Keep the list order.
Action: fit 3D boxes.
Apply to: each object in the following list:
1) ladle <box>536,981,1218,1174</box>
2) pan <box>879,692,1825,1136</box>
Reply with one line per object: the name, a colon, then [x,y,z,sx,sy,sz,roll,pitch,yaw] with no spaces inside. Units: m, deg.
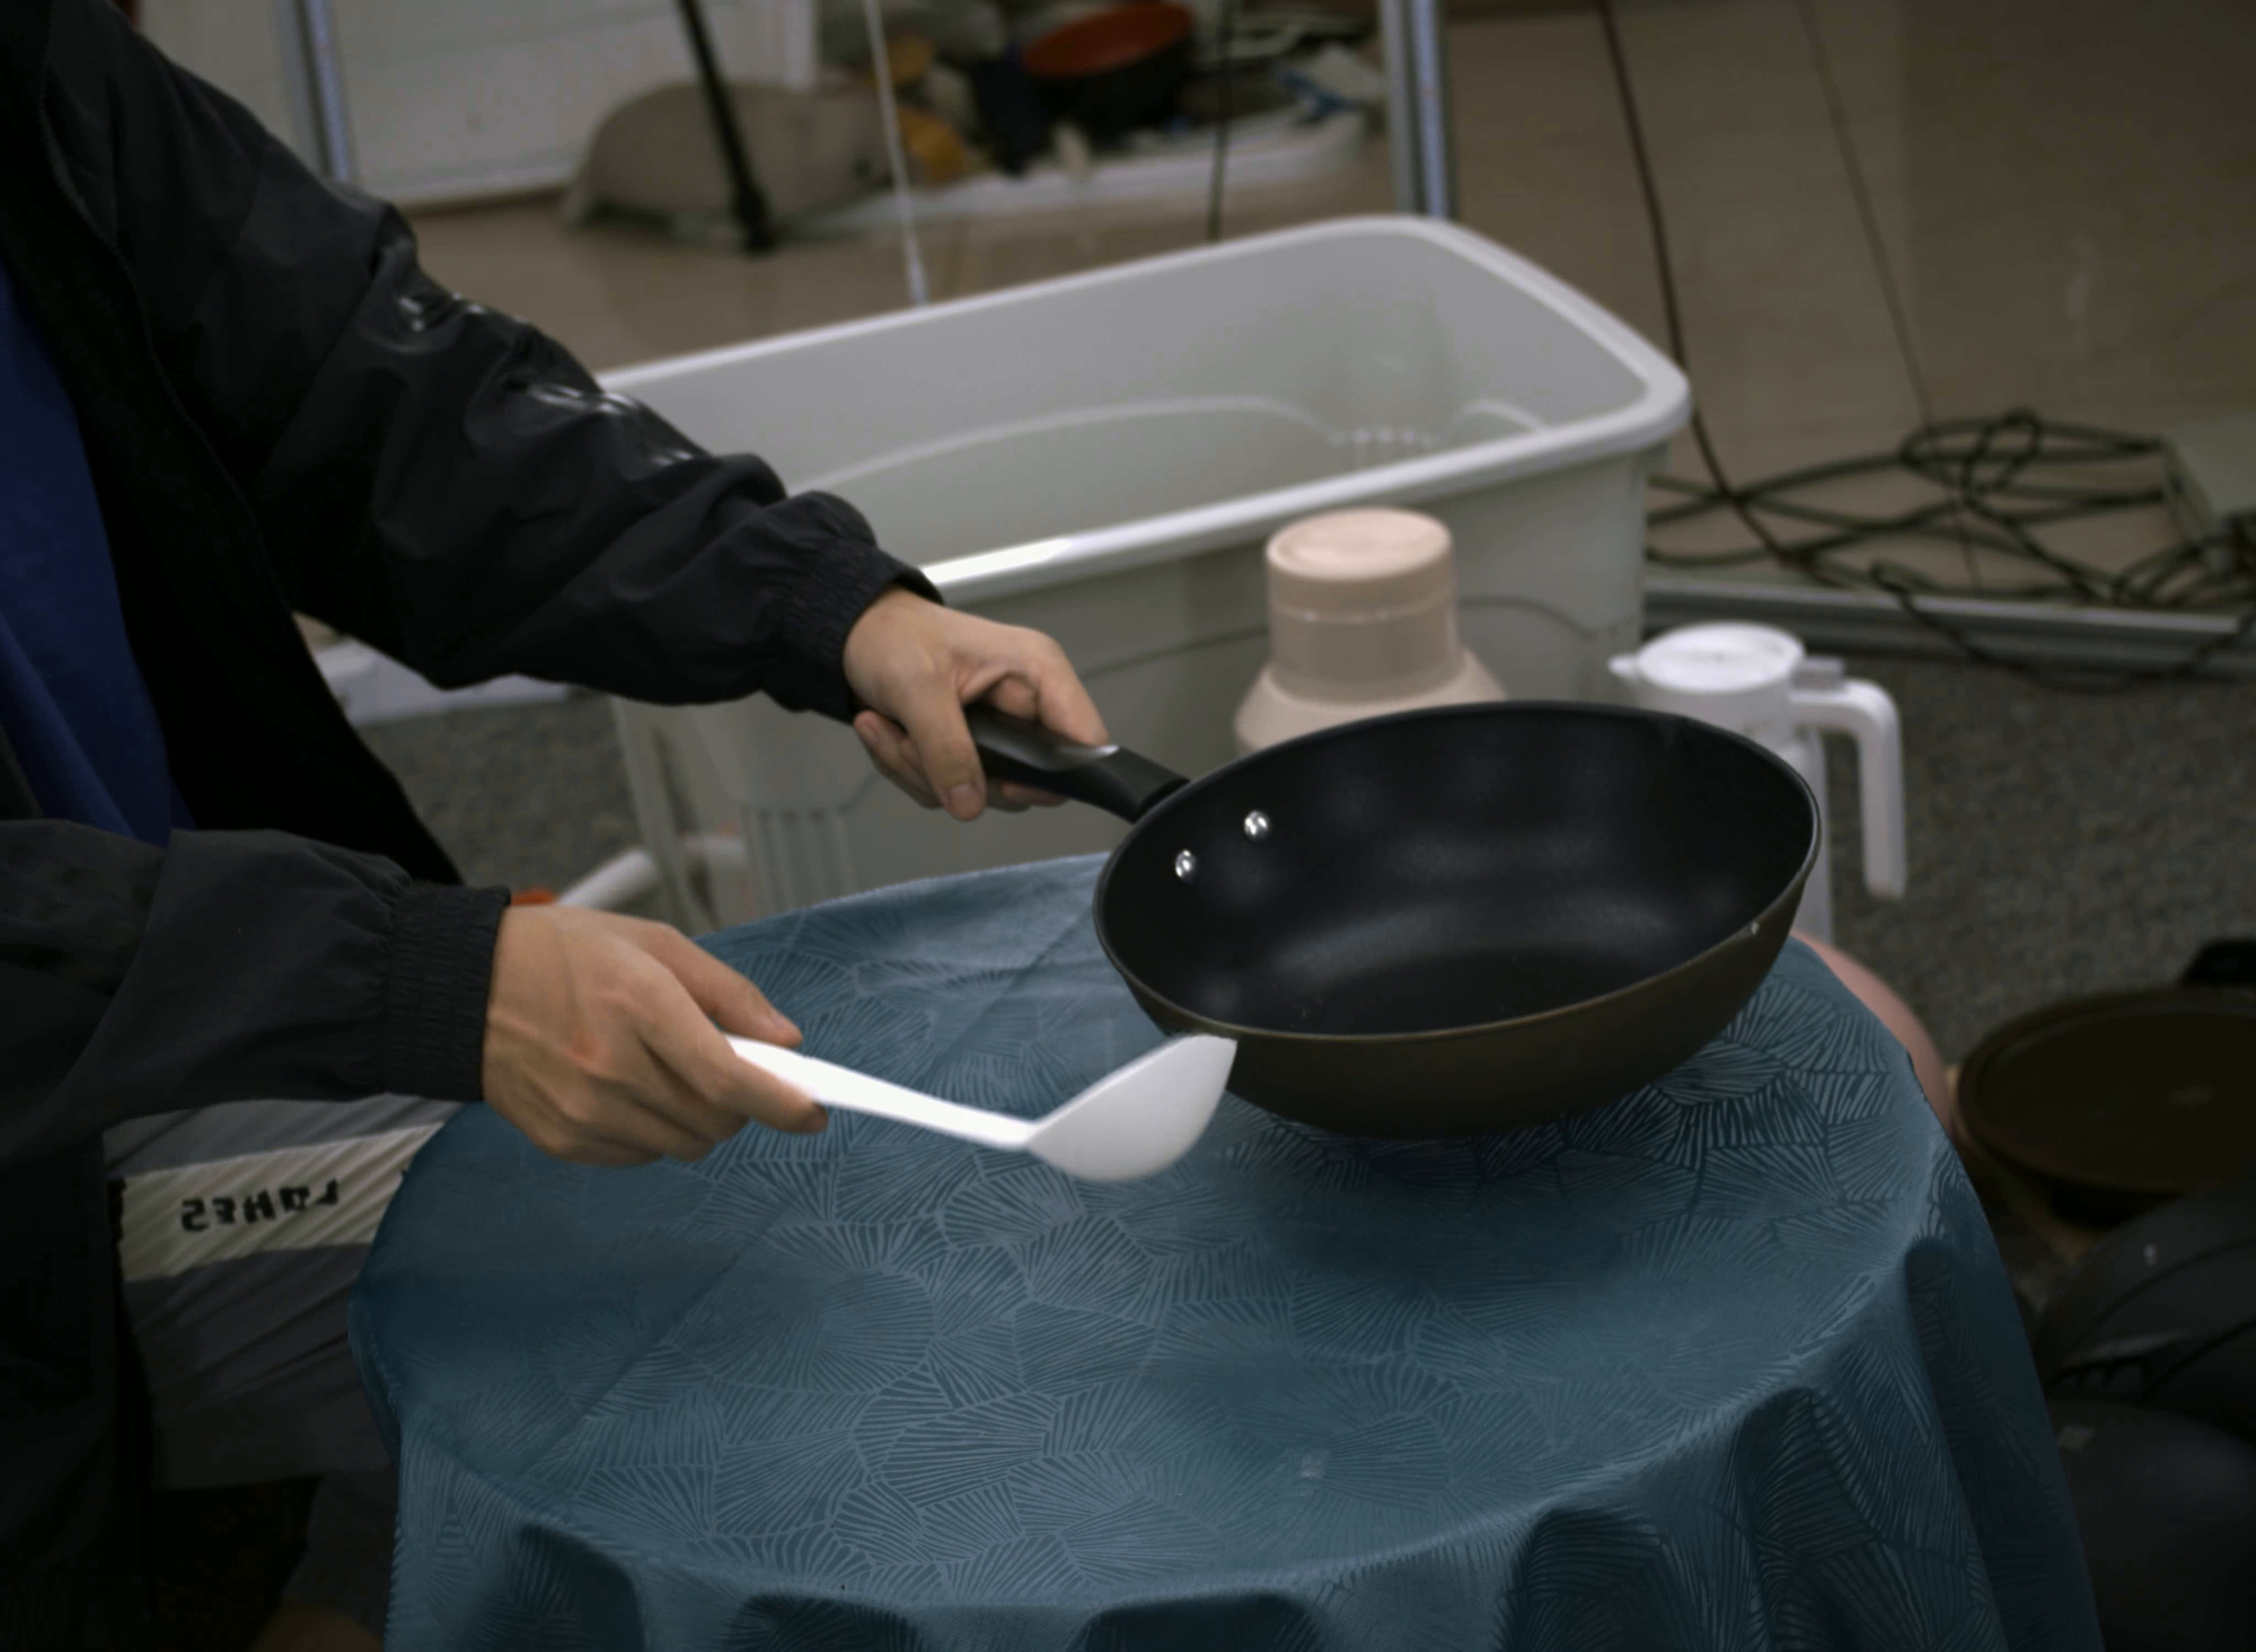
ladle: [-0.097,0.079,2.054,0.292,0.071,0.089,8,25,34]
pan: [0.064,0.027,2.230,0.460,0.088,0.285,15,35,42]
